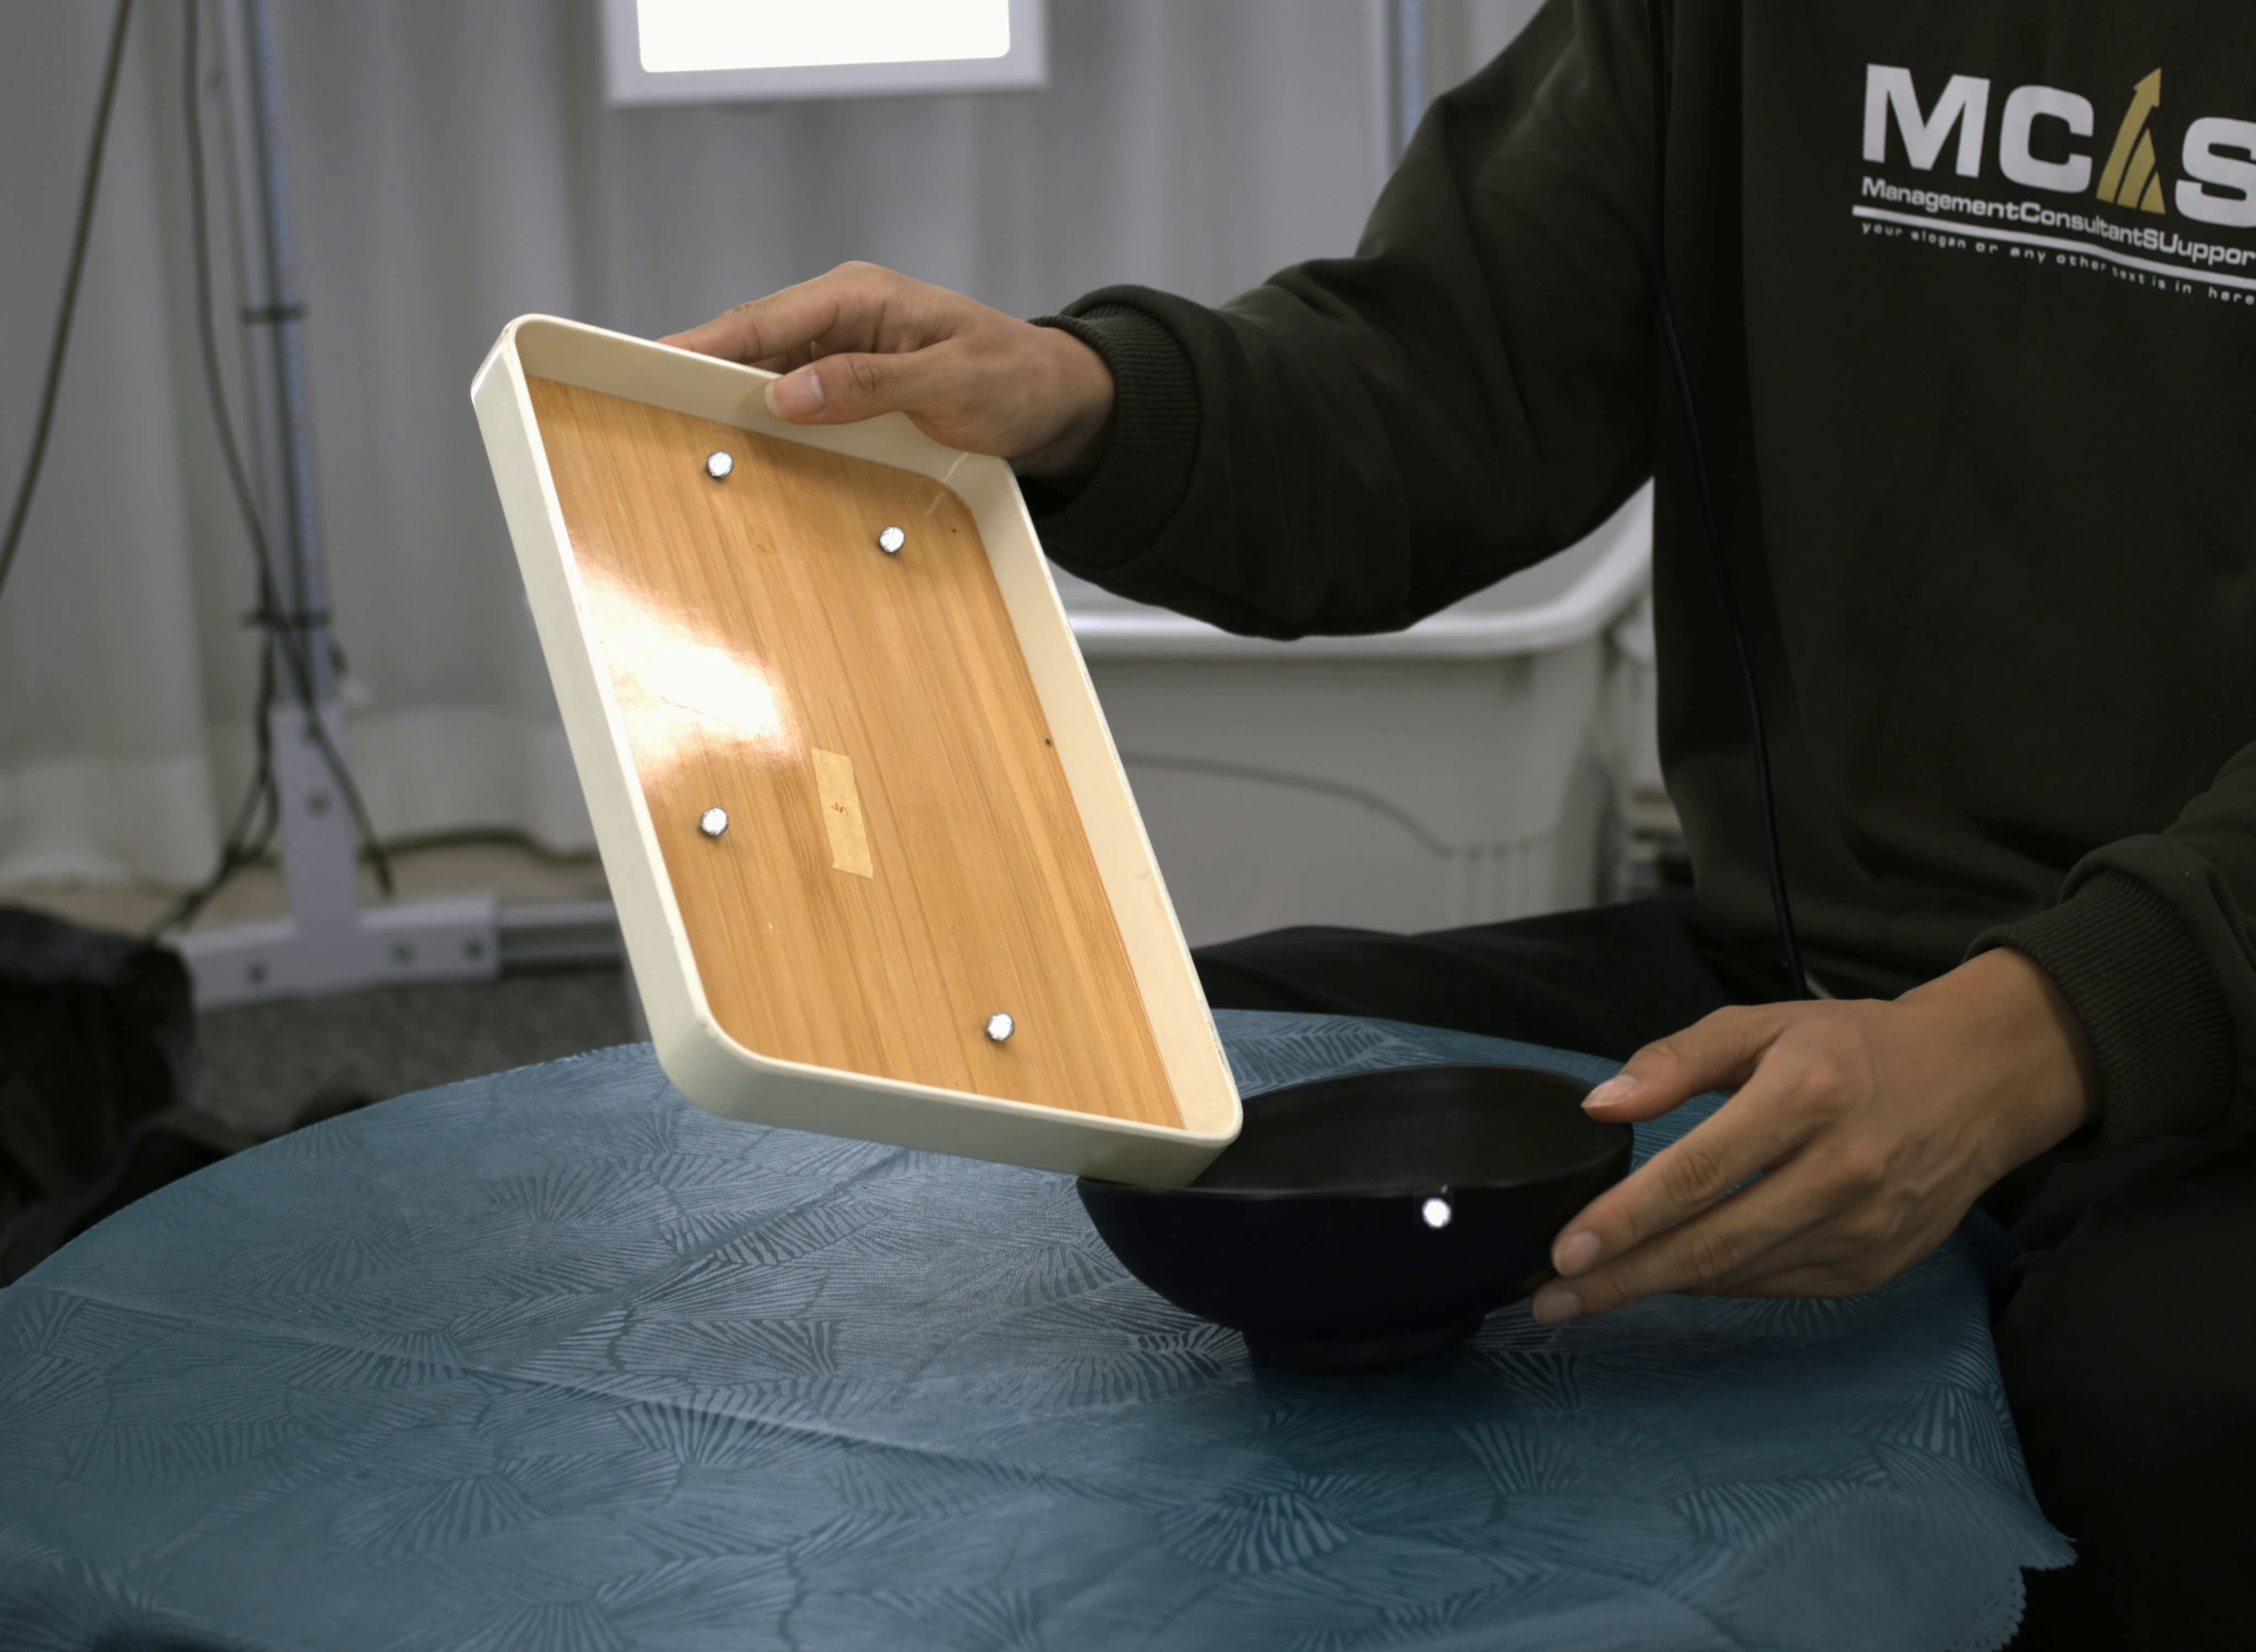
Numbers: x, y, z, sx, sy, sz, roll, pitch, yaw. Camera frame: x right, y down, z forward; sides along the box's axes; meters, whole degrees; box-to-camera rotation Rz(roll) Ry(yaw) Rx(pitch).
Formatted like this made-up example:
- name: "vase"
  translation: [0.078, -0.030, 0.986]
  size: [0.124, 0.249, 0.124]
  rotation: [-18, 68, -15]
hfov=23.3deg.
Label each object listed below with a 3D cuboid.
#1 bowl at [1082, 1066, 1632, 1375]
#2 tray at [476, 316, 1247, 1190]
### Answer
- name: "bowl"
  translation: [0.066, 0.117, 1.567]
  size: [0.170, 0.066, 0.137]
  rotation: [-2, 11, 31]
- name: "tray"
  translation: [-0.083, -0.024, 1.646]
  size: [0.190, 0.027, 0.305]
  rotation: [12, 42, -34]
